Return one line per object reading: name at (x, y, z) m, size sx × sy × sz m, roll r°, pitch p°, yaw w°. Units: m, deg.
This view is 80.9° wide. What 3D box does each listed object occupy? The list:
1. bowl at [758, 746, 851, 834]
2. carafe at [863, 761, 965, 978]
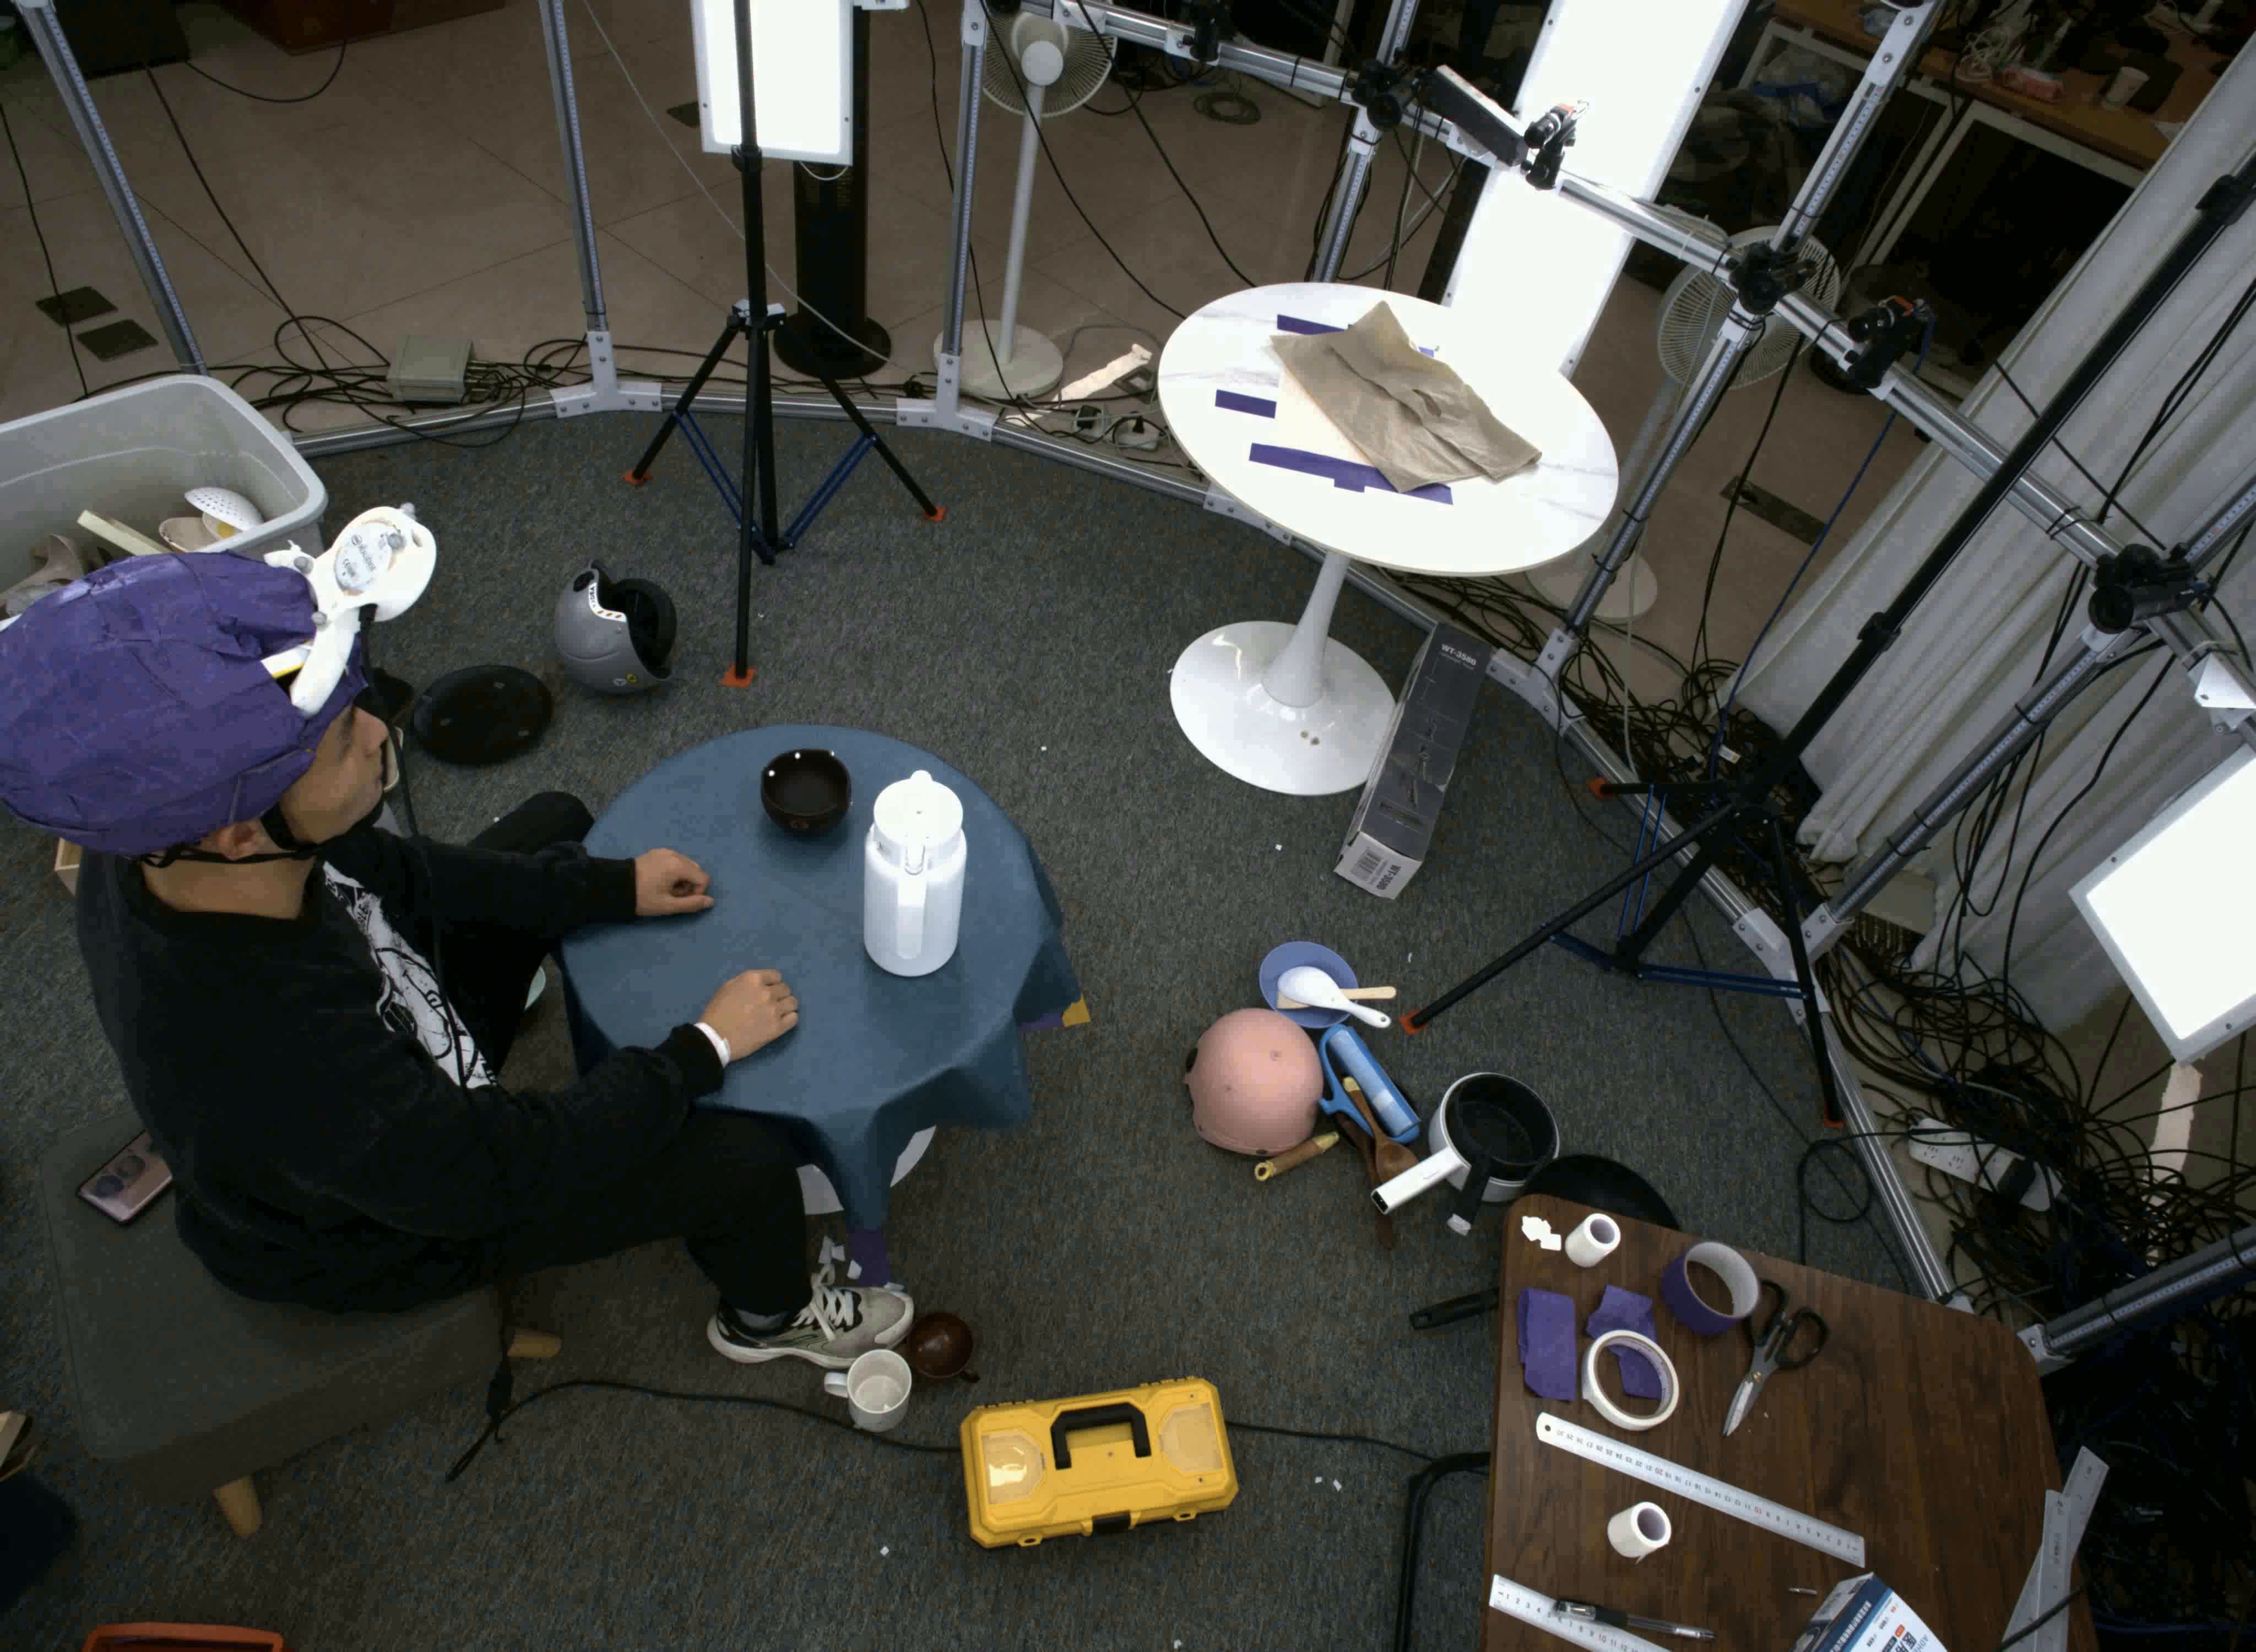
bowl at (-0.424, -0.040, 1.703) m, size 0.118 × 0.071 × 0.116 m, roll 7°, pitch 53°, yaw -8°
carafe at (-0.253, 0.074, 1.538) m, size 0.124 × 0.274 × 0.169 m, roll 3°, pitch 52°, yaw -11°
